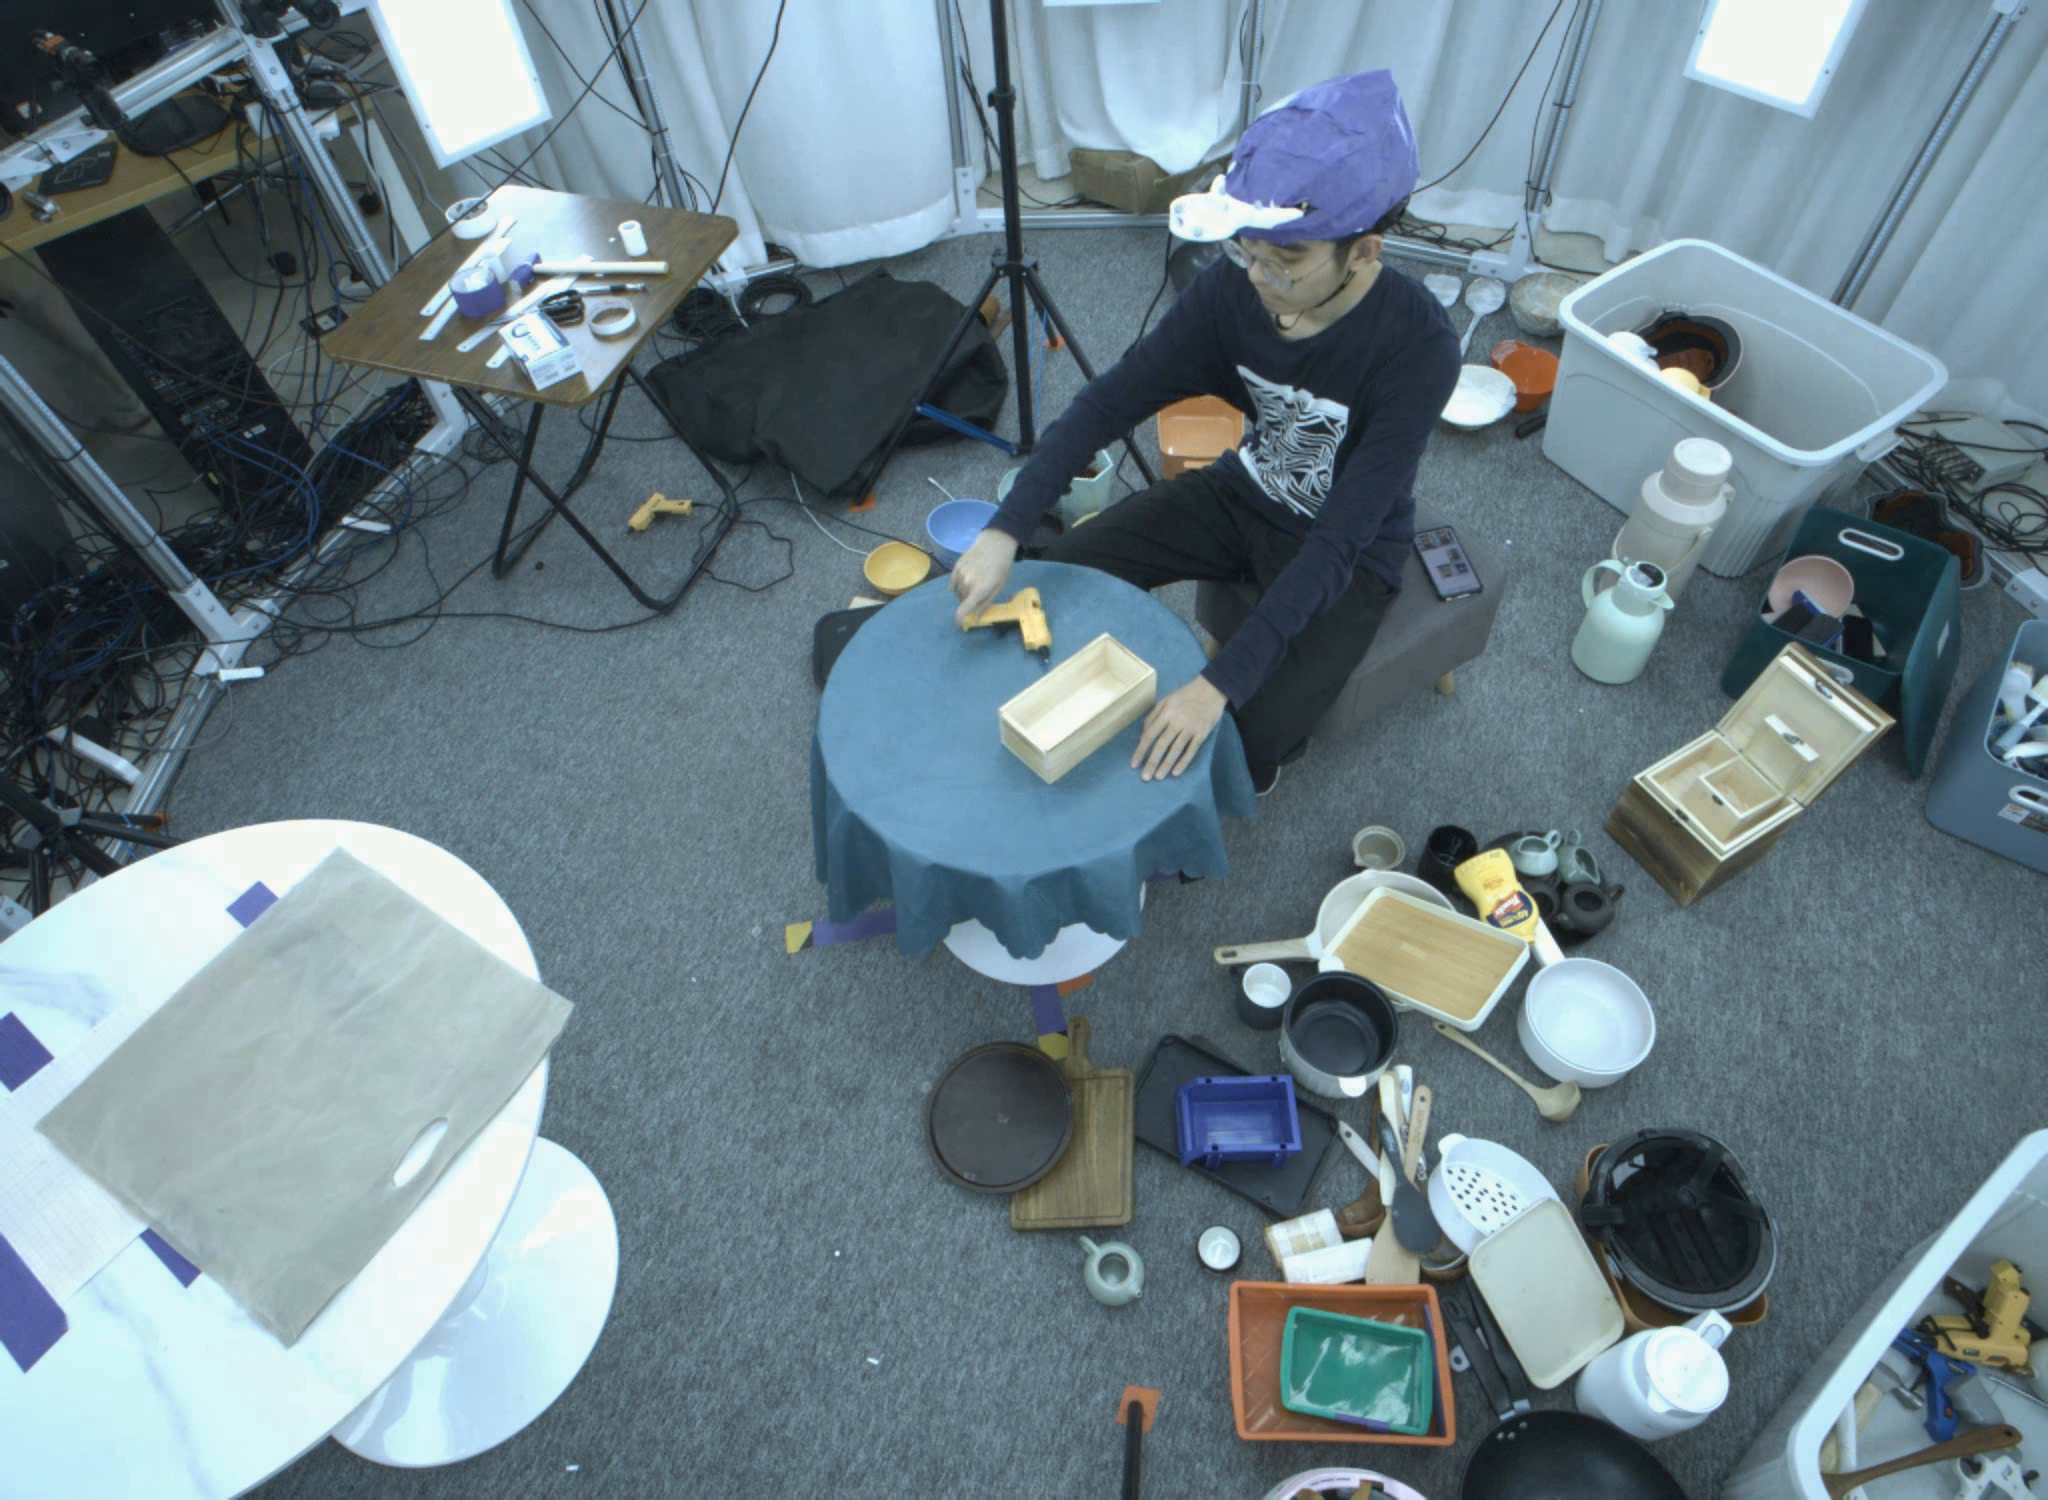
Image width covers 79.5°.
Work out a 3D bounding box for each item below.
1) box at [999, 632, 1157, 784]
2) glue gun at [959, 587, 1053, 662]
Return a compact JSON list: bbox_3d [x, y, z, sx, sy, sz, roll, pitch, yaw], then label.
[{"bbox_3d":[0.080,-0.062,1.778,0.213,0.081,0.105,-37,60,-21],"label":"box"},{"bbox_3d":[-0.022,-0.180,1.901,0.133,0.031,0.149,-16,54,-7],"label":"glue gun"}]
